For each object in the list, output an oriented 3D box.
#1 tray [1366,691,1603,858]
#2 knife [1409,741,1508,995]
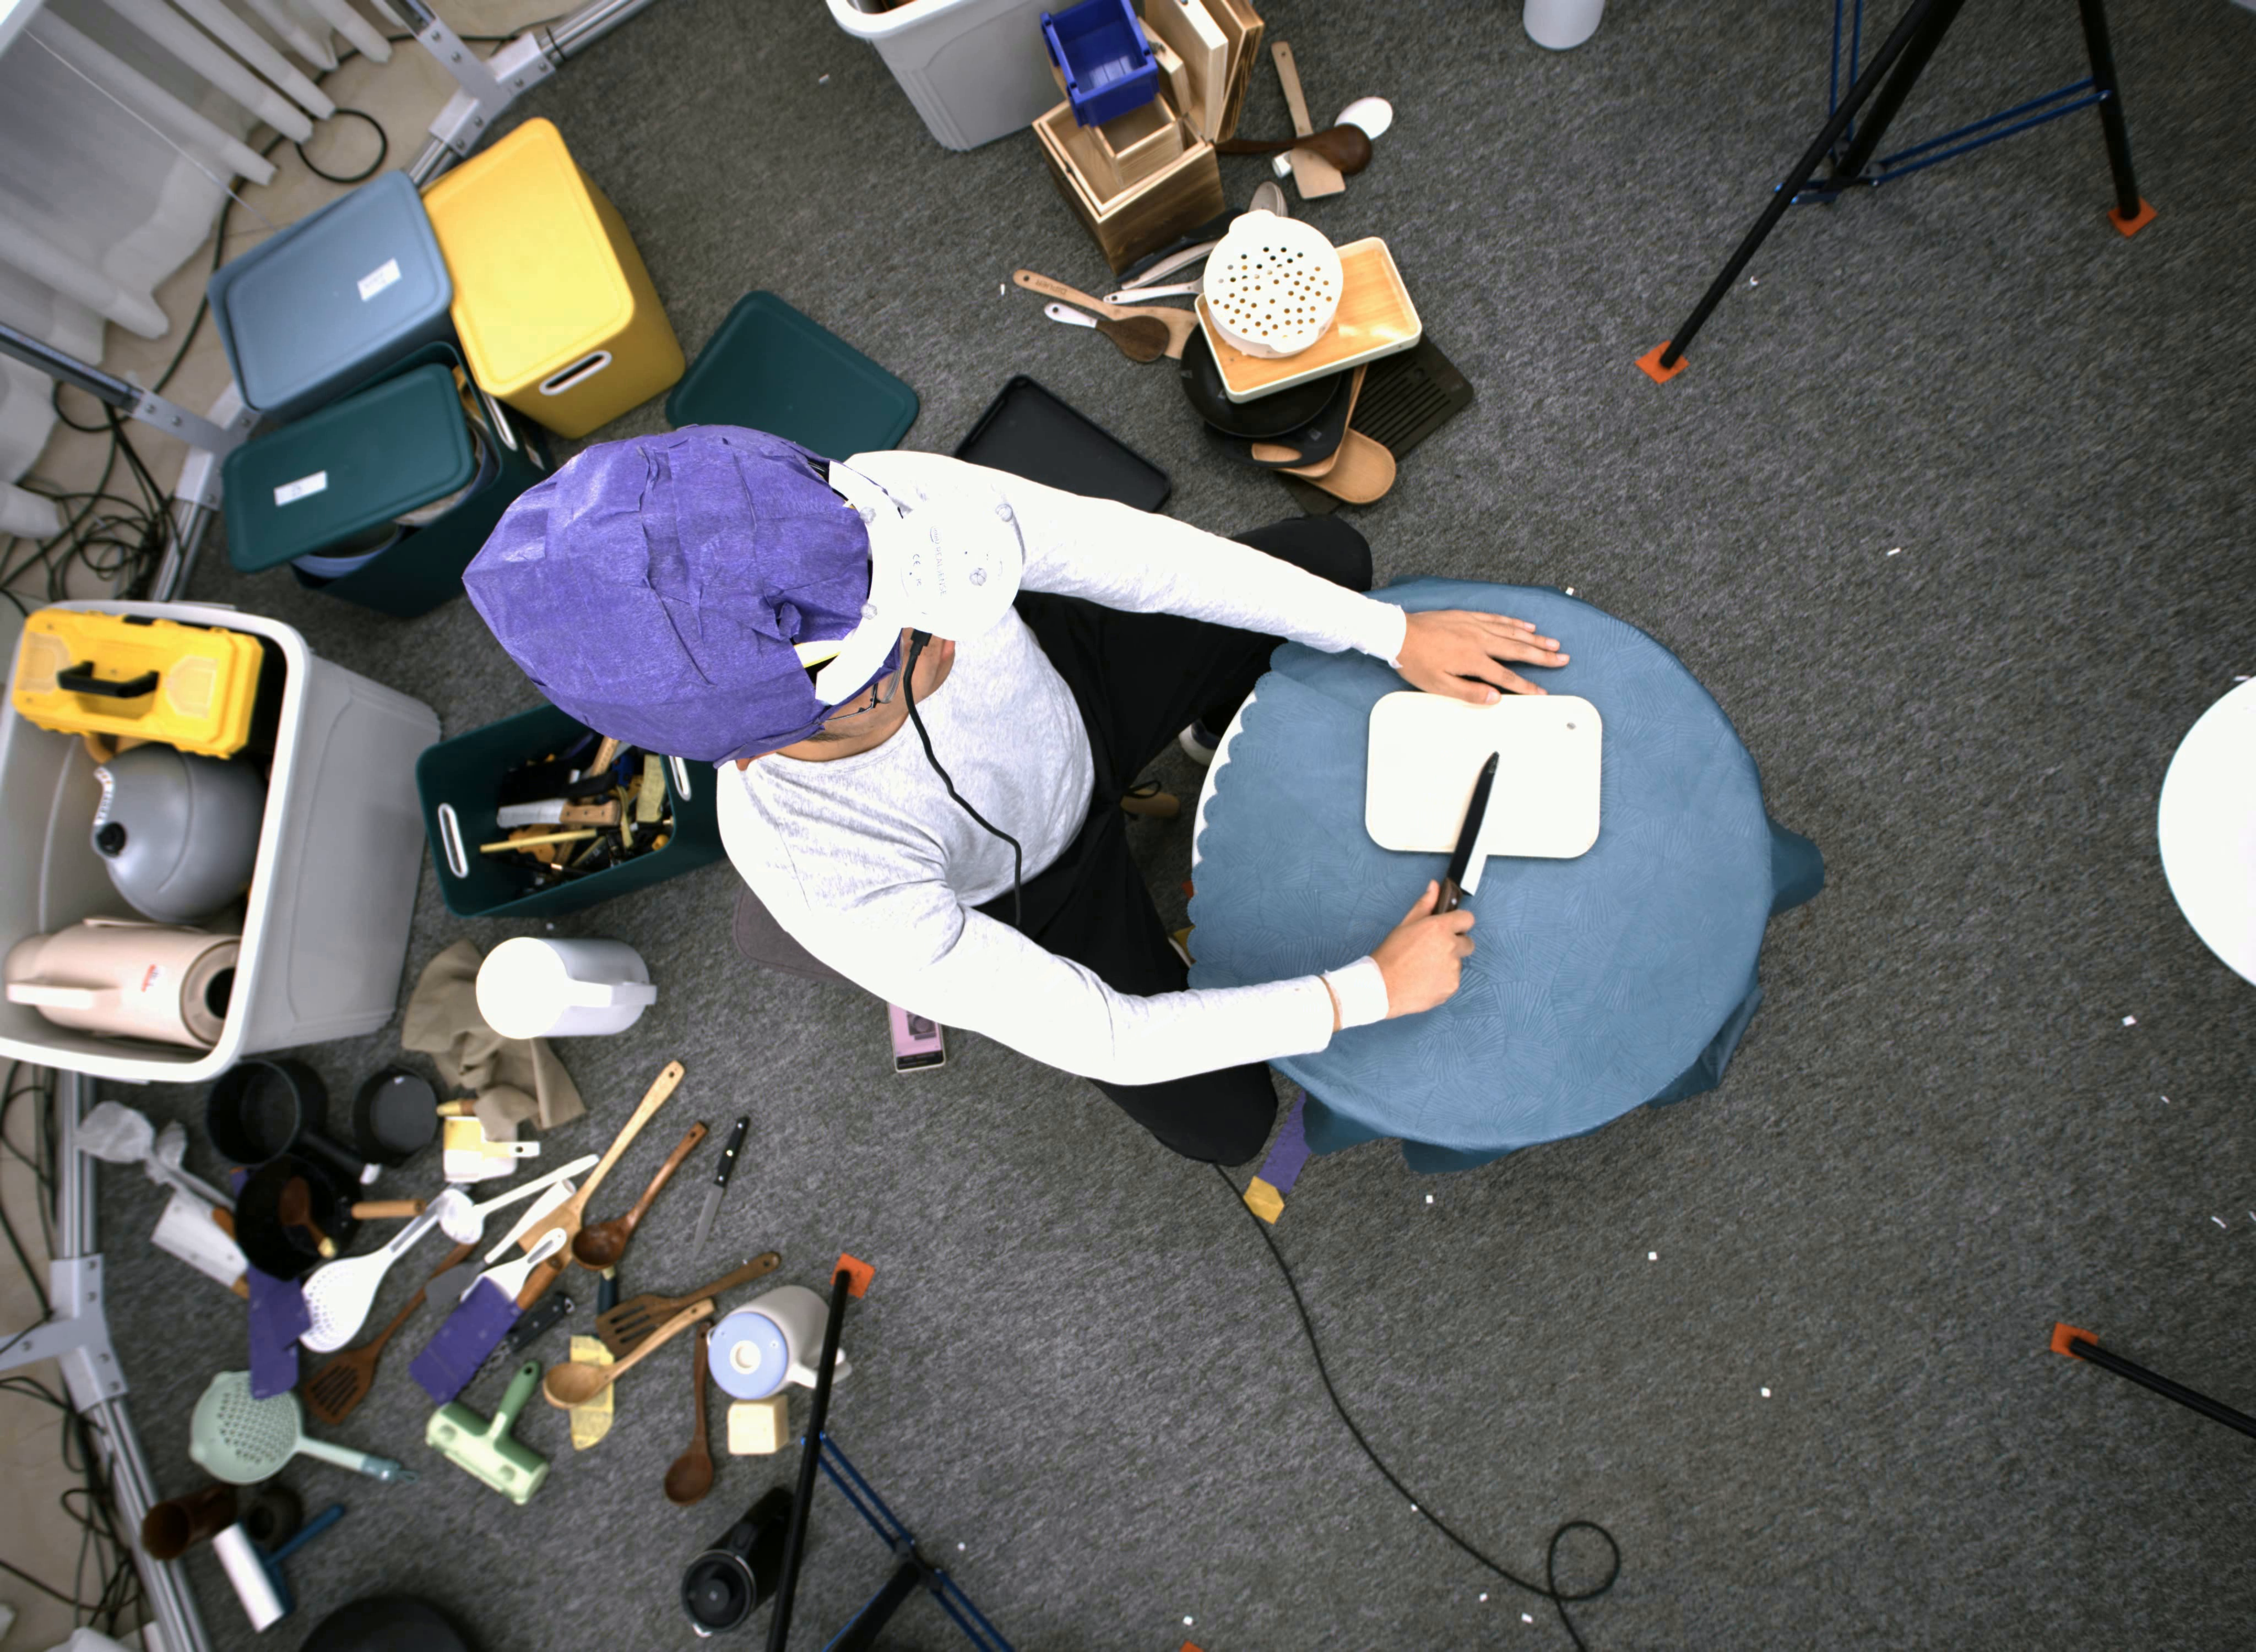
[{"bbox_3d":[0.372,-0.057,1.439,0.240,0.017,0.170,3,87,11],"label":"tray"},{"bbox_3d":[0.342,0.039,1.412,0.050,0.020,0.286,27,79,-32],"label":"knife"}]
